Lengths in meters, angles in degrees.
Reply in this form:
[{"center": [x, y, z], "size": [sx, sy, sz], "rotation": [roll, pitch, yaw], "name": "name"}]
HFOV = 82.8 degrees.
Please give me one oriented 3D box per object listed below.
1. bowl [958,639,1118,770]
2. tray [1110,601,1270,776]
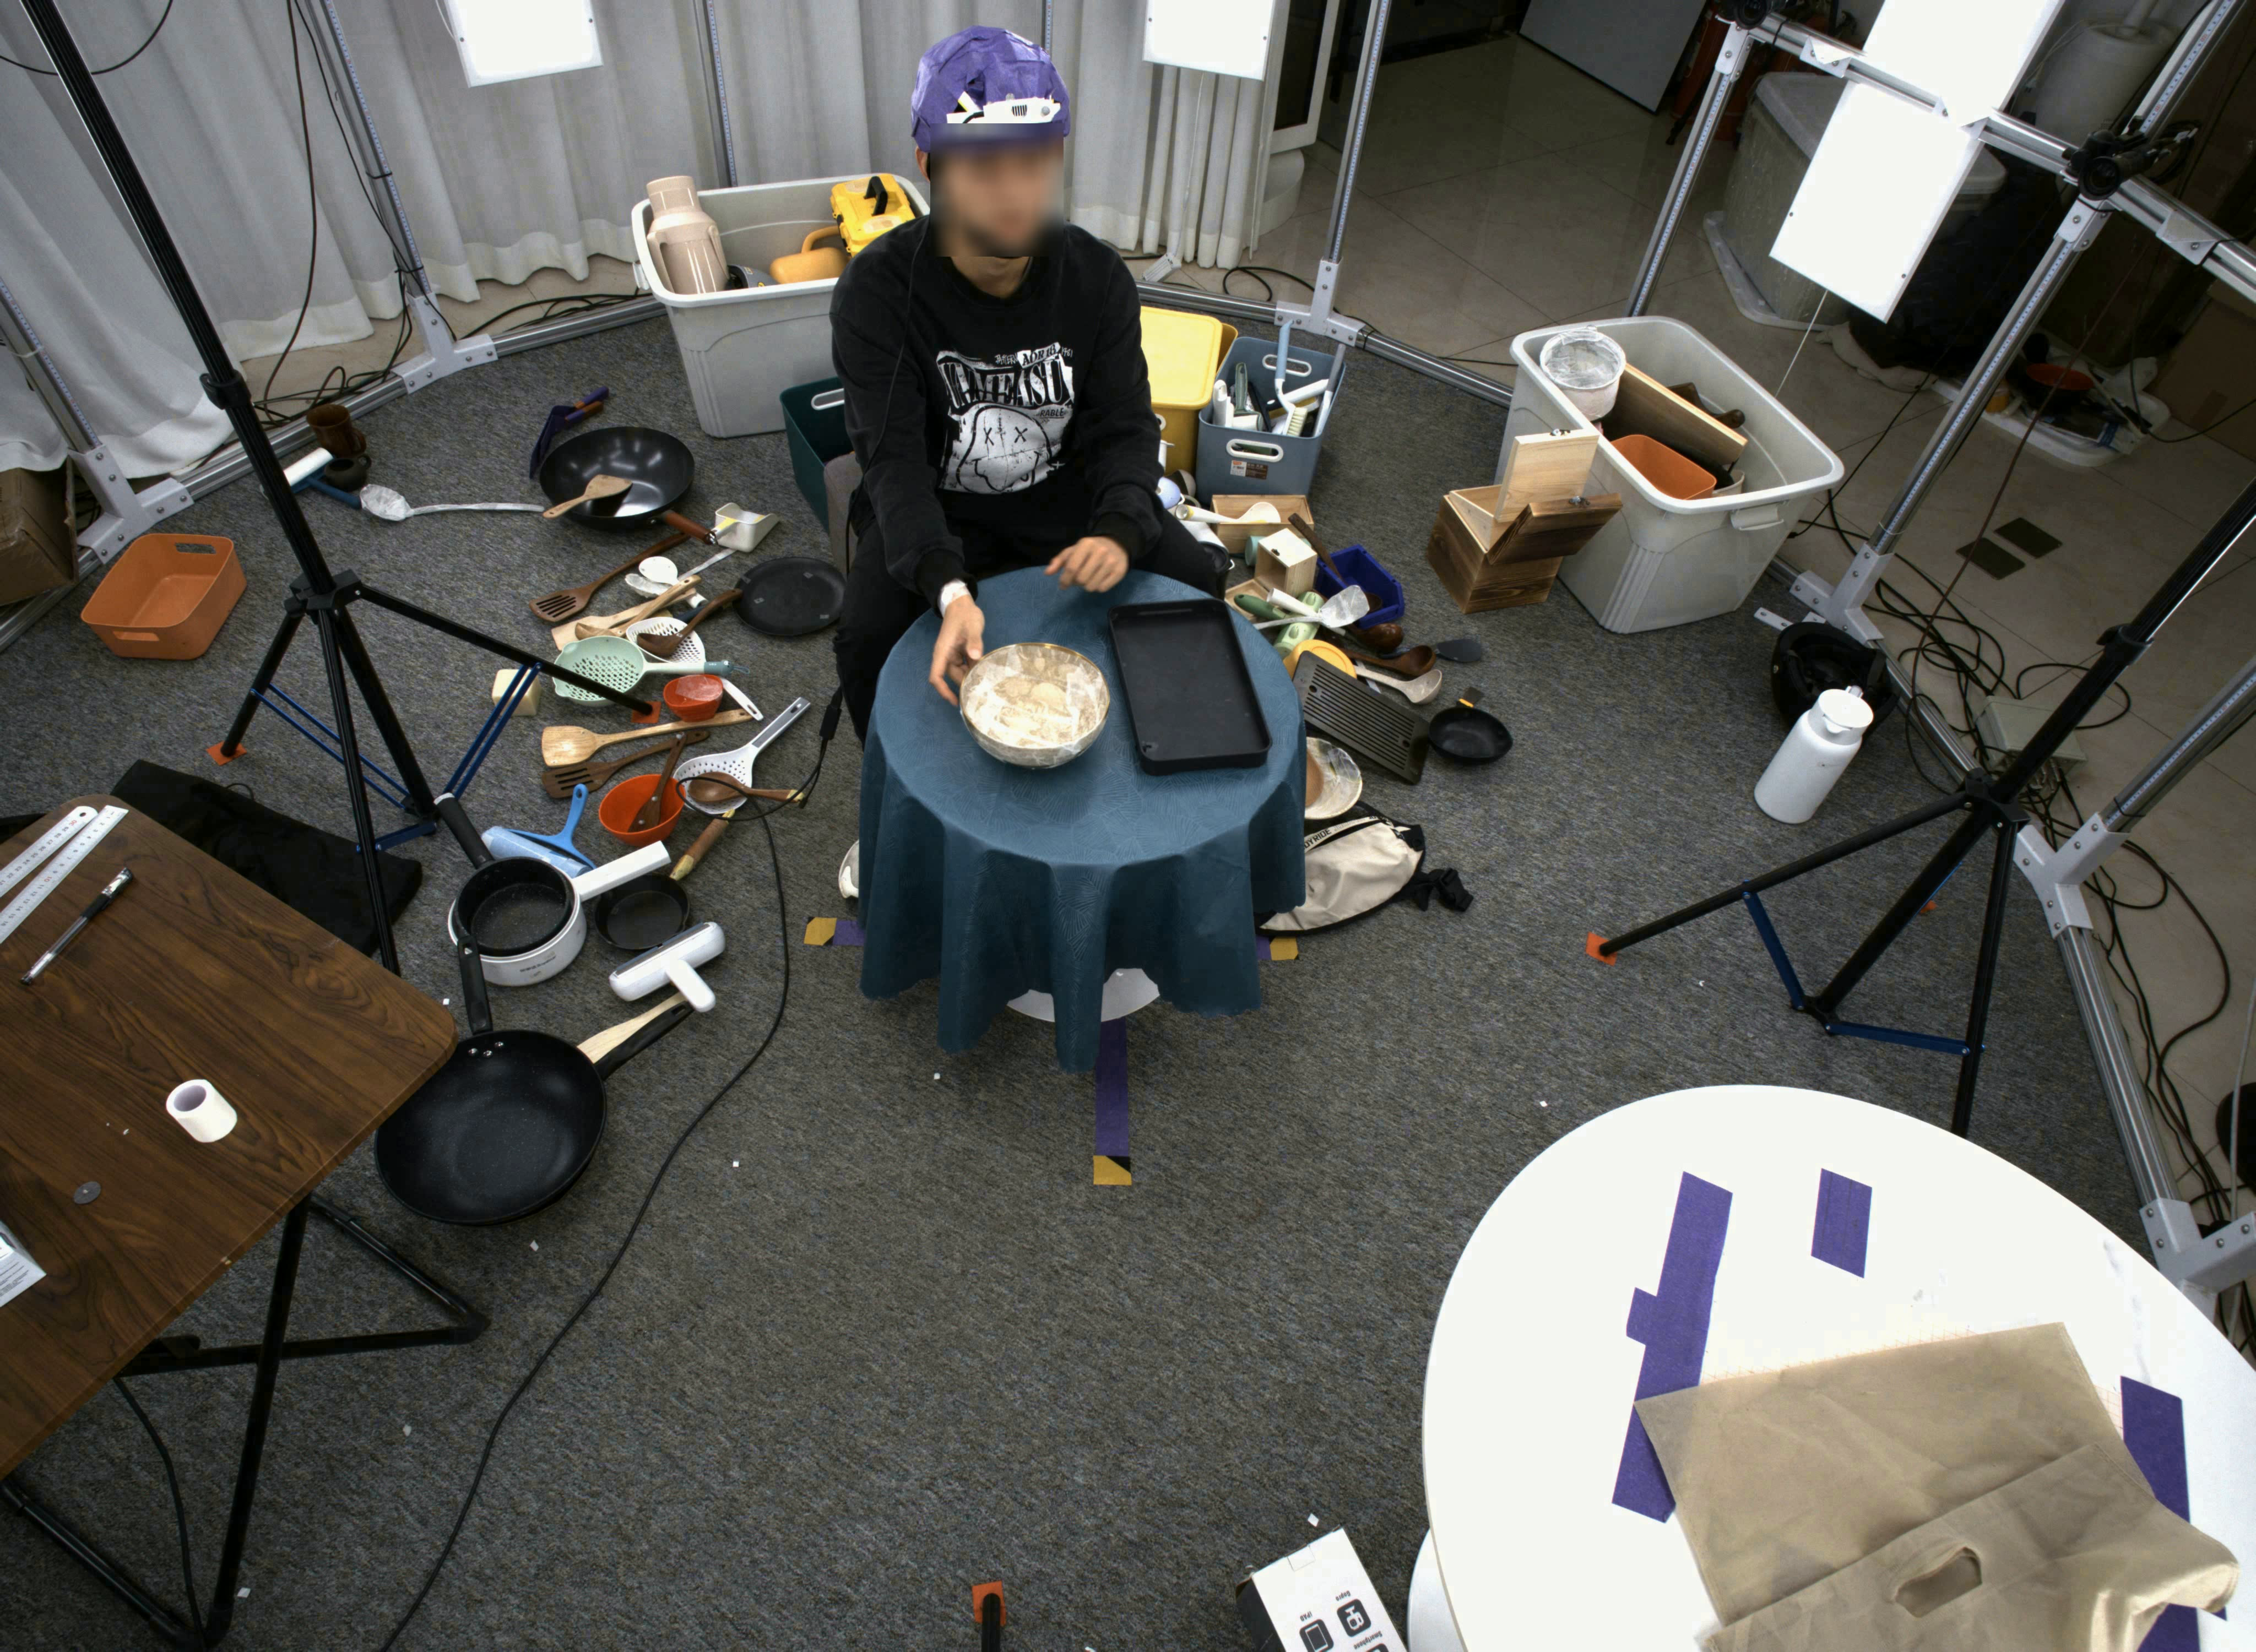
[{"center": [-0.123, -0.150, 1.746], "size": [0.214, 0.092, 0.220], "rotation": [1, 49, -2], "name": "bowl"}, {"center": [0.083, -0.204, 1.844], "size": [0.184, 0.036, 0.326], "rotation": [-4, 49, -8], "name": "tray"}]
